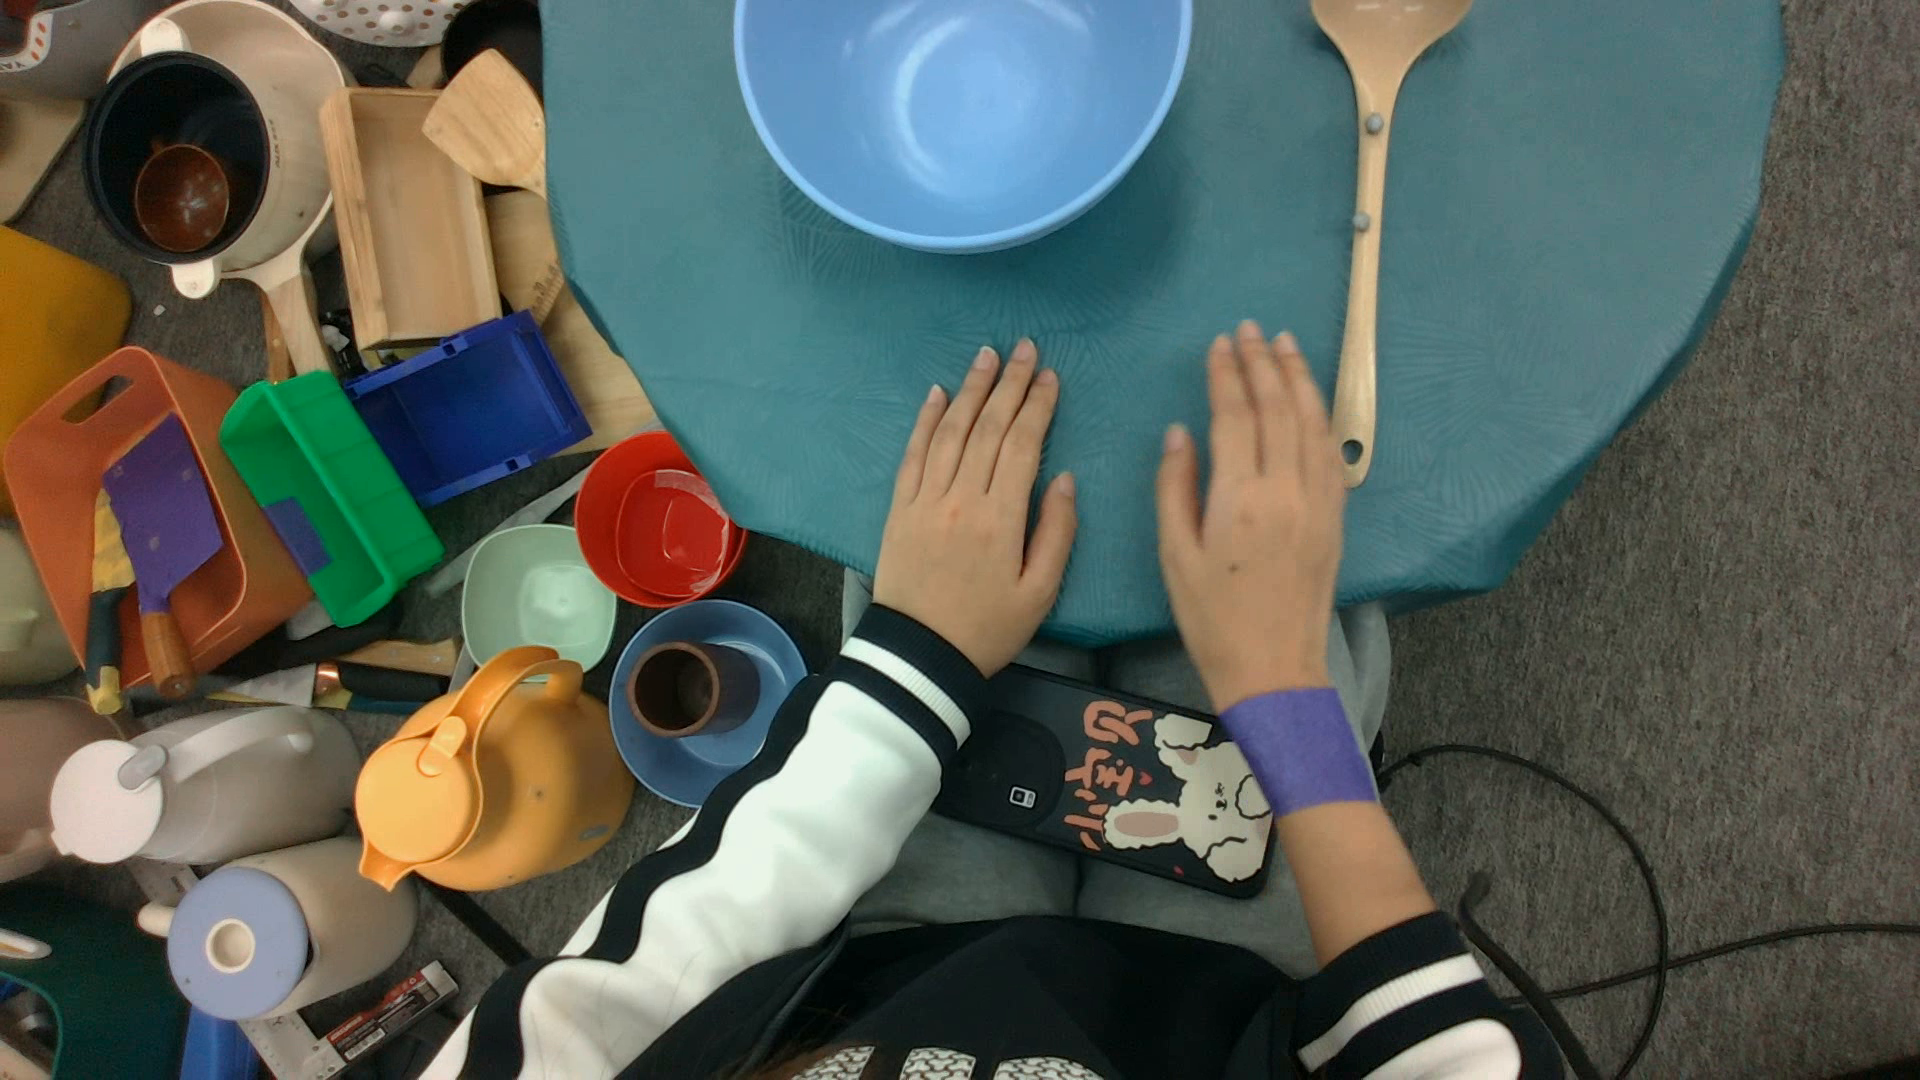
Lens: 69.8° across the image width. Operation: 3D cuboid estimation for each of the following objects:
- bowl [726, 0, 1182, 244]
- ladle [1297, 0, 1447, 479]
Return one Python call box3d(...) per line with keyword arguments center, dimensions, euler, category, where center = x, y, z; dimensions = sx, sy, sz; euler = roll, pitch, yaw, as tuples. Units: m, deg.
box3d(center=(0.000, -0.222, 0.635), dimensions=(0.196, 0.095, 0.196), euler=(0, 86, 5), category="bowl")
box3d(center=(0.184, -0.158, 0.616), dimensions=(0.072, 0.073, 0.254), euler=(2, 85, 8), category="ladle")
